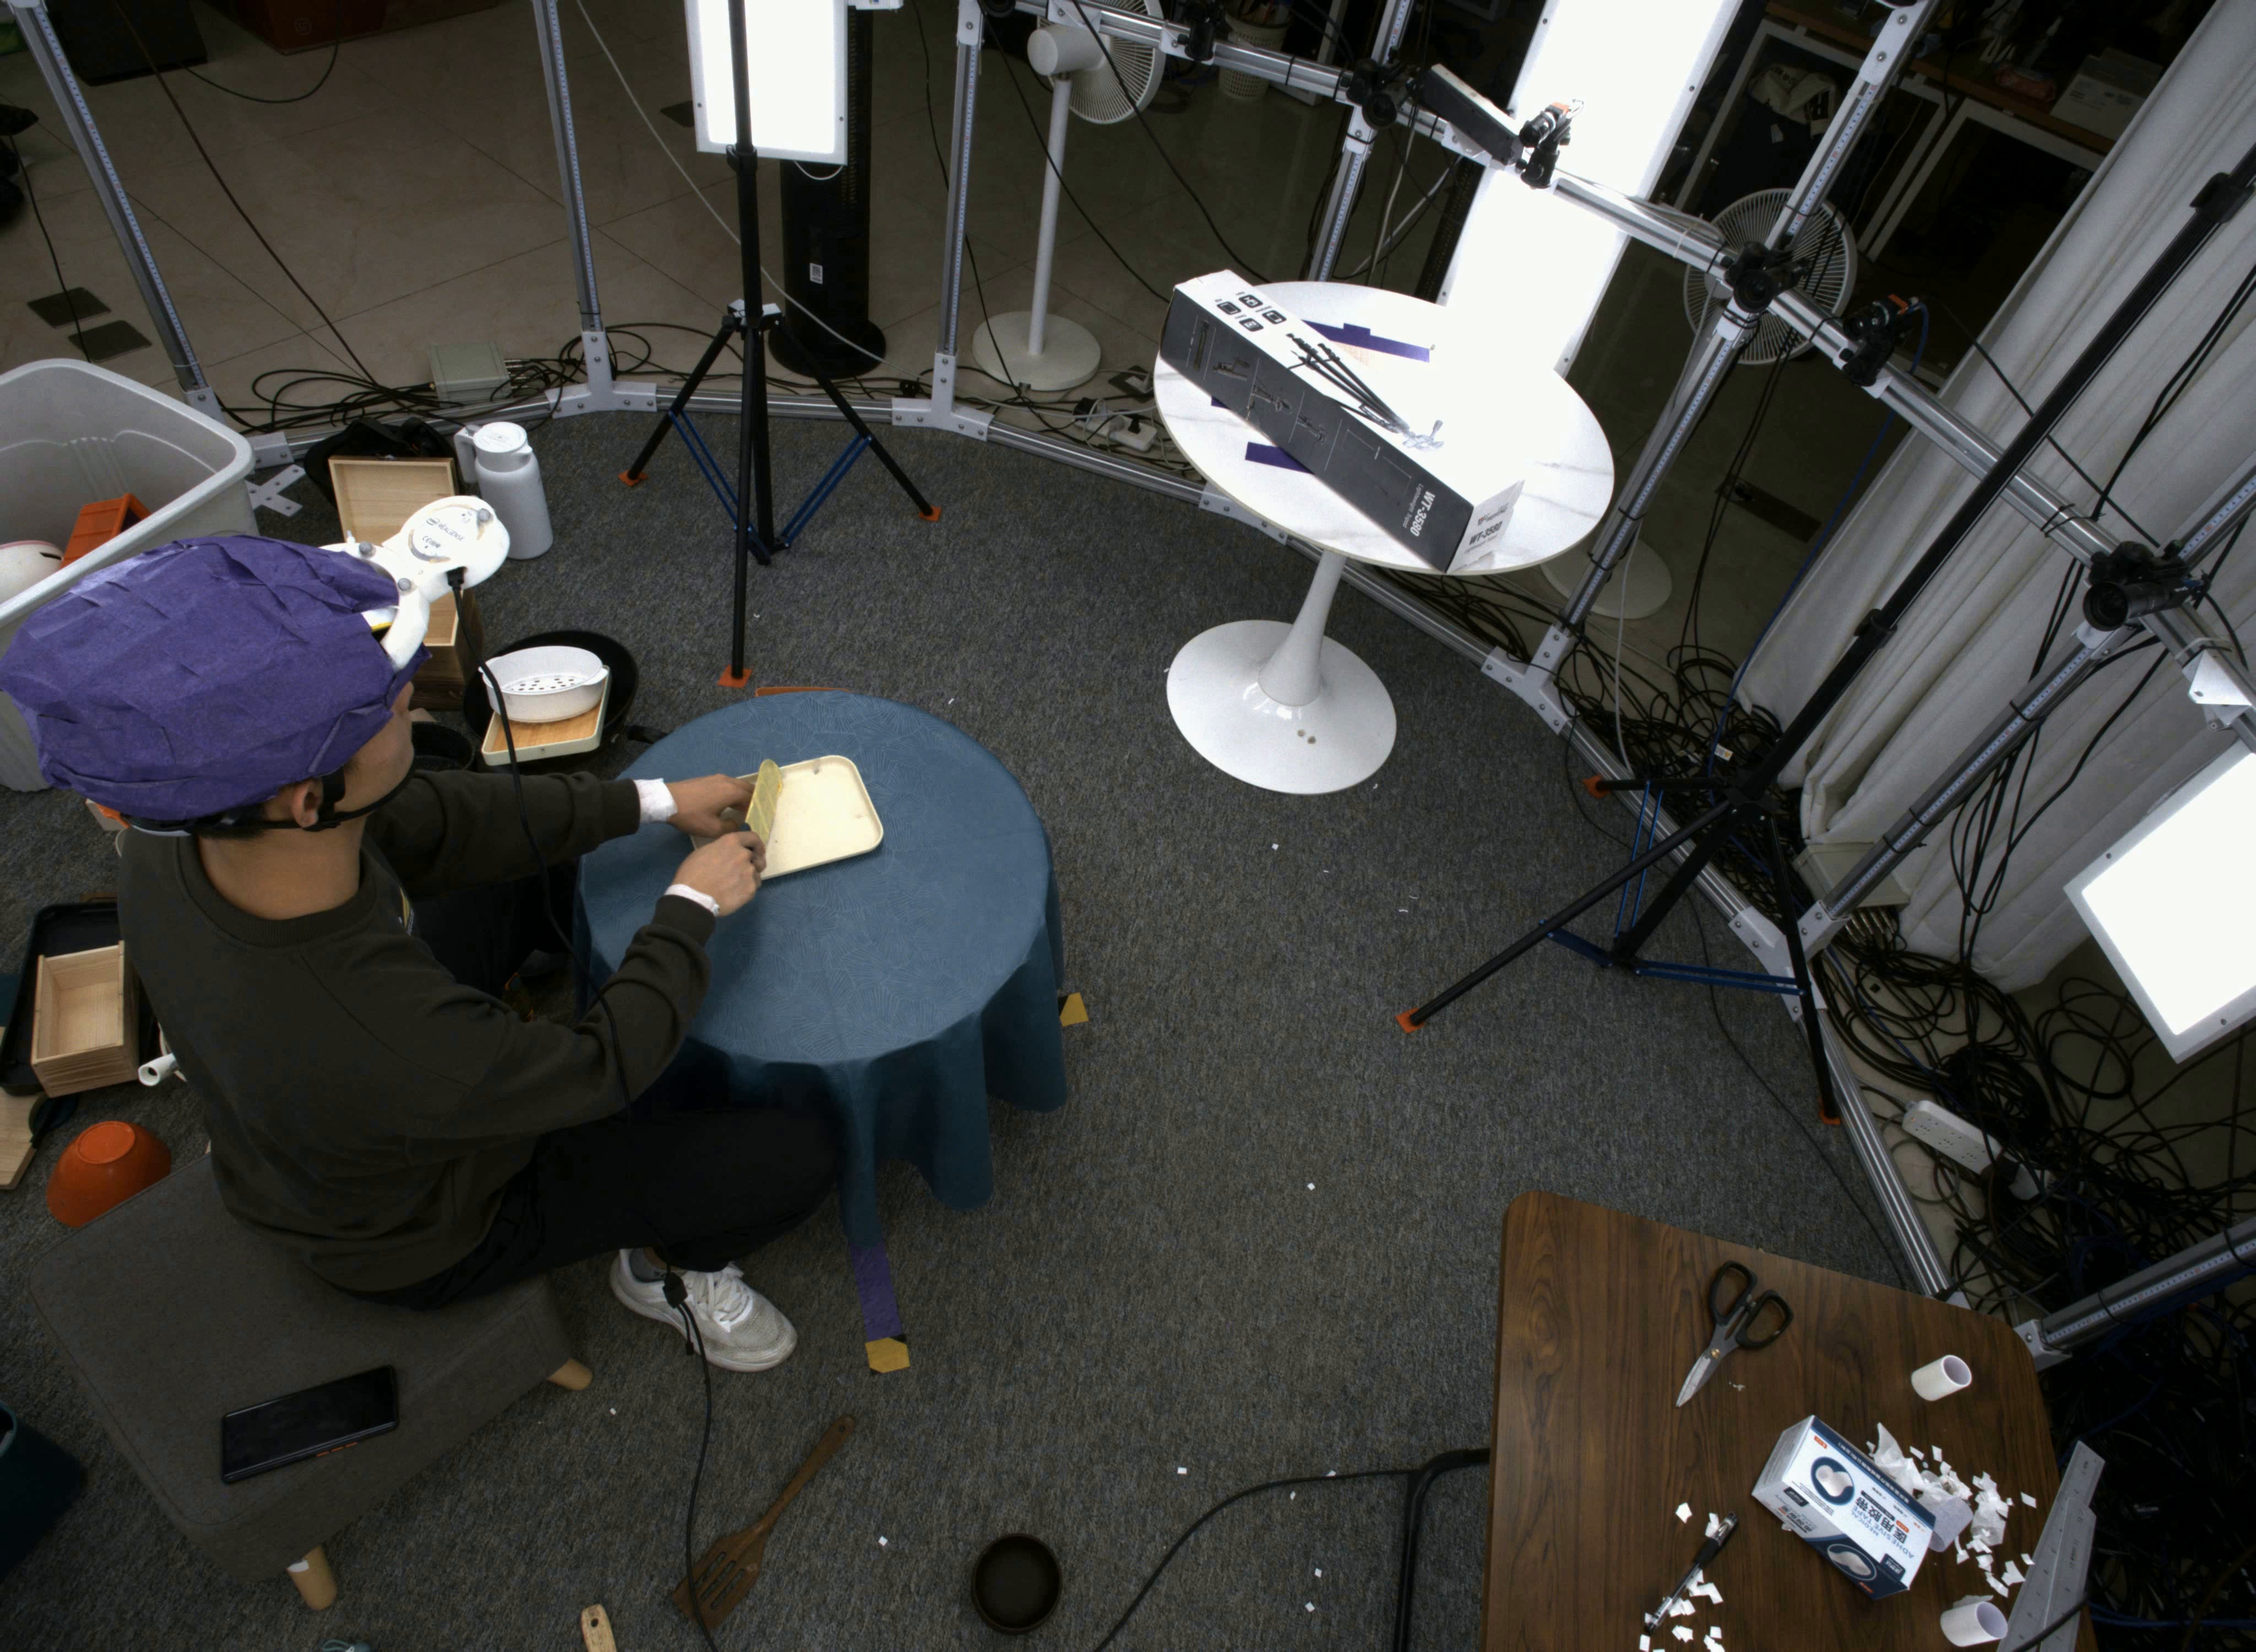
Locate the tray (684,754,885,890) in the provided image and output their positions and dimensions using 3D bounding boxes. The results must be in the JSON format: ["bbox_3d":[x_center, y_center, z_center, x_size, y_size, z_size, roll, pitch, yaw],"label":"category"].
[{"bbox_3d":[-0.456,-0.007,1.721,0.241,0.018,0.167,-16,60,-24],"label":"tray"}]

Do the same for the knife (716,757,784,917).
[{"bbox_3d":[-0.474,0.013,1.646,0.027,0.084,0.284,-3,43,7],"label":"knife"}]
